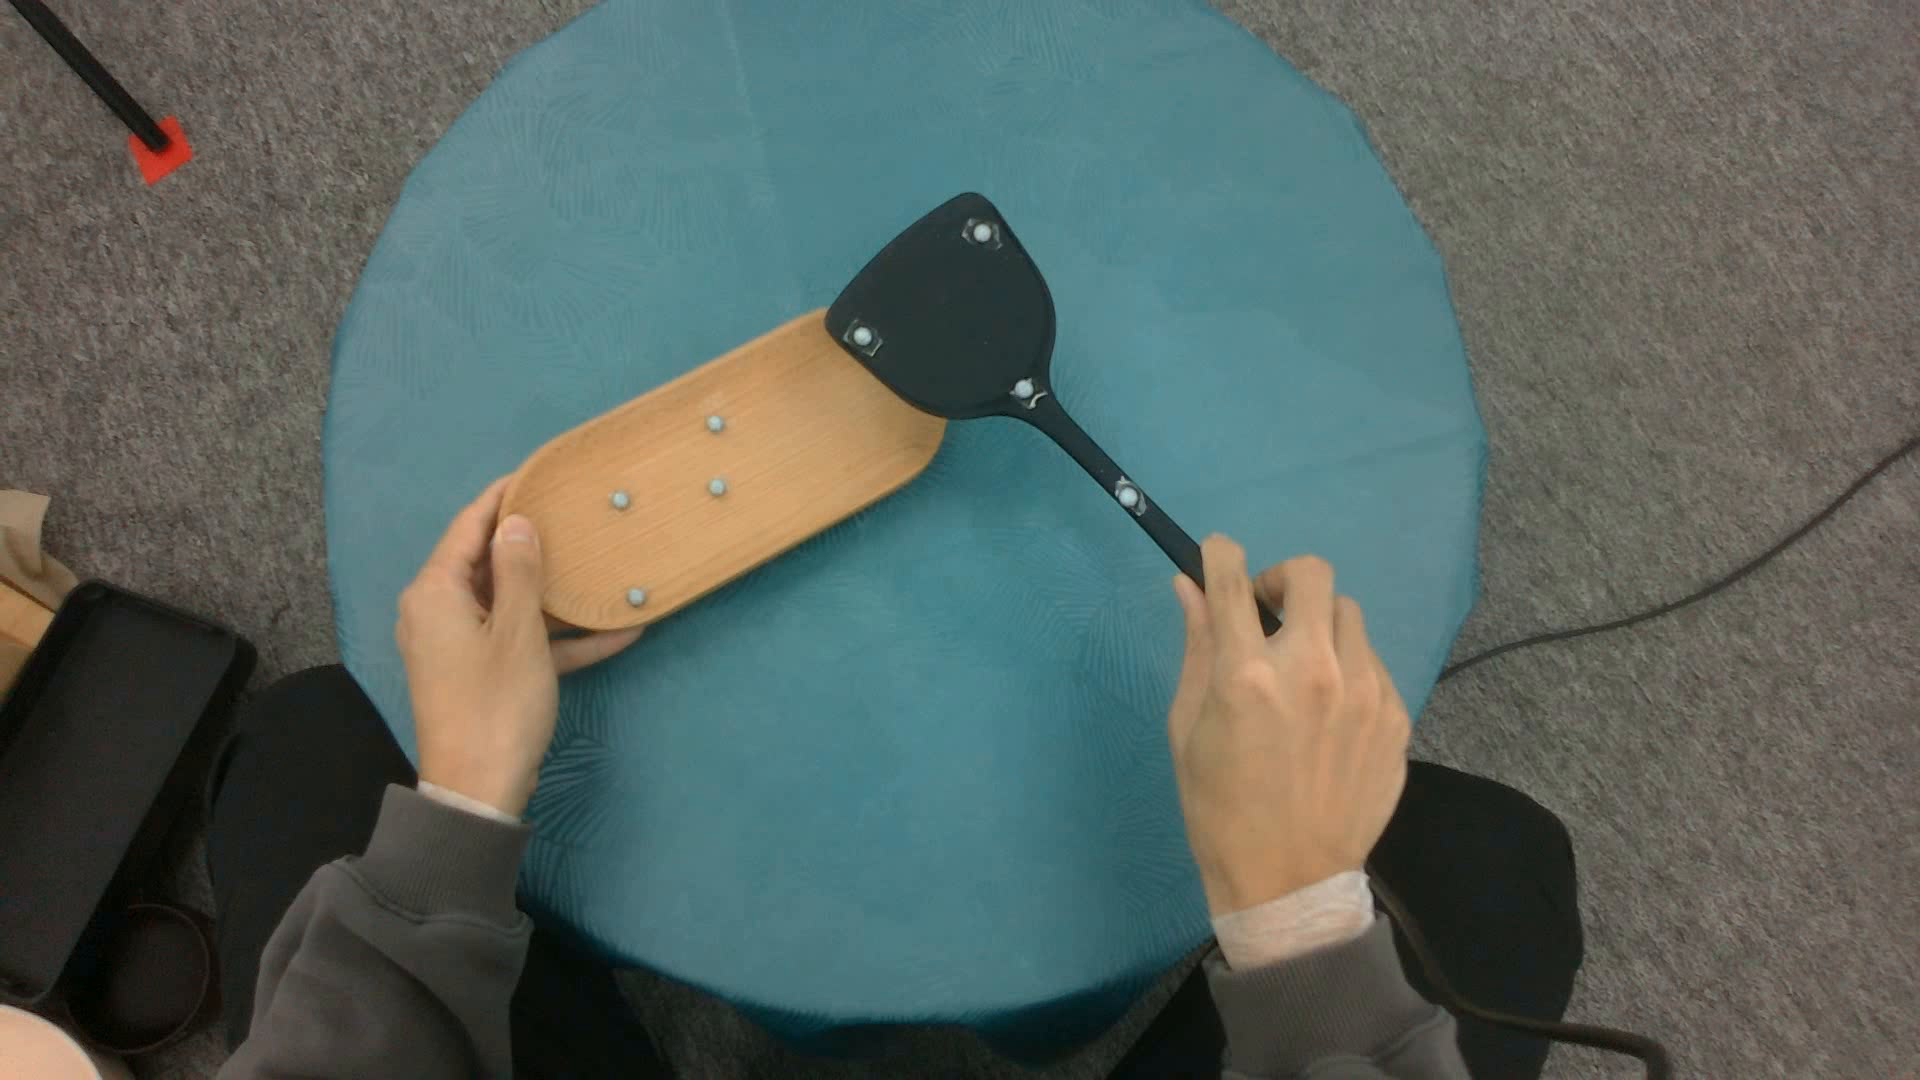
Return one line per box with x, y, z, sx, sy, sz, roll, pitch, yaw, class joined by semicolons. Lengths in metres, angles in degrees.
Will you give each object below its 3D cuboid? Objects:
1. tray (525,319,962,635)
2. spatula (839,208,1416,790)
-0.105;-0.033;0.691;0.232;0.020;0.102;-29;80;-16;tray
0.078;-0.016;0.606;0.100;0.040;0.326;-42;67;-1;spatula
